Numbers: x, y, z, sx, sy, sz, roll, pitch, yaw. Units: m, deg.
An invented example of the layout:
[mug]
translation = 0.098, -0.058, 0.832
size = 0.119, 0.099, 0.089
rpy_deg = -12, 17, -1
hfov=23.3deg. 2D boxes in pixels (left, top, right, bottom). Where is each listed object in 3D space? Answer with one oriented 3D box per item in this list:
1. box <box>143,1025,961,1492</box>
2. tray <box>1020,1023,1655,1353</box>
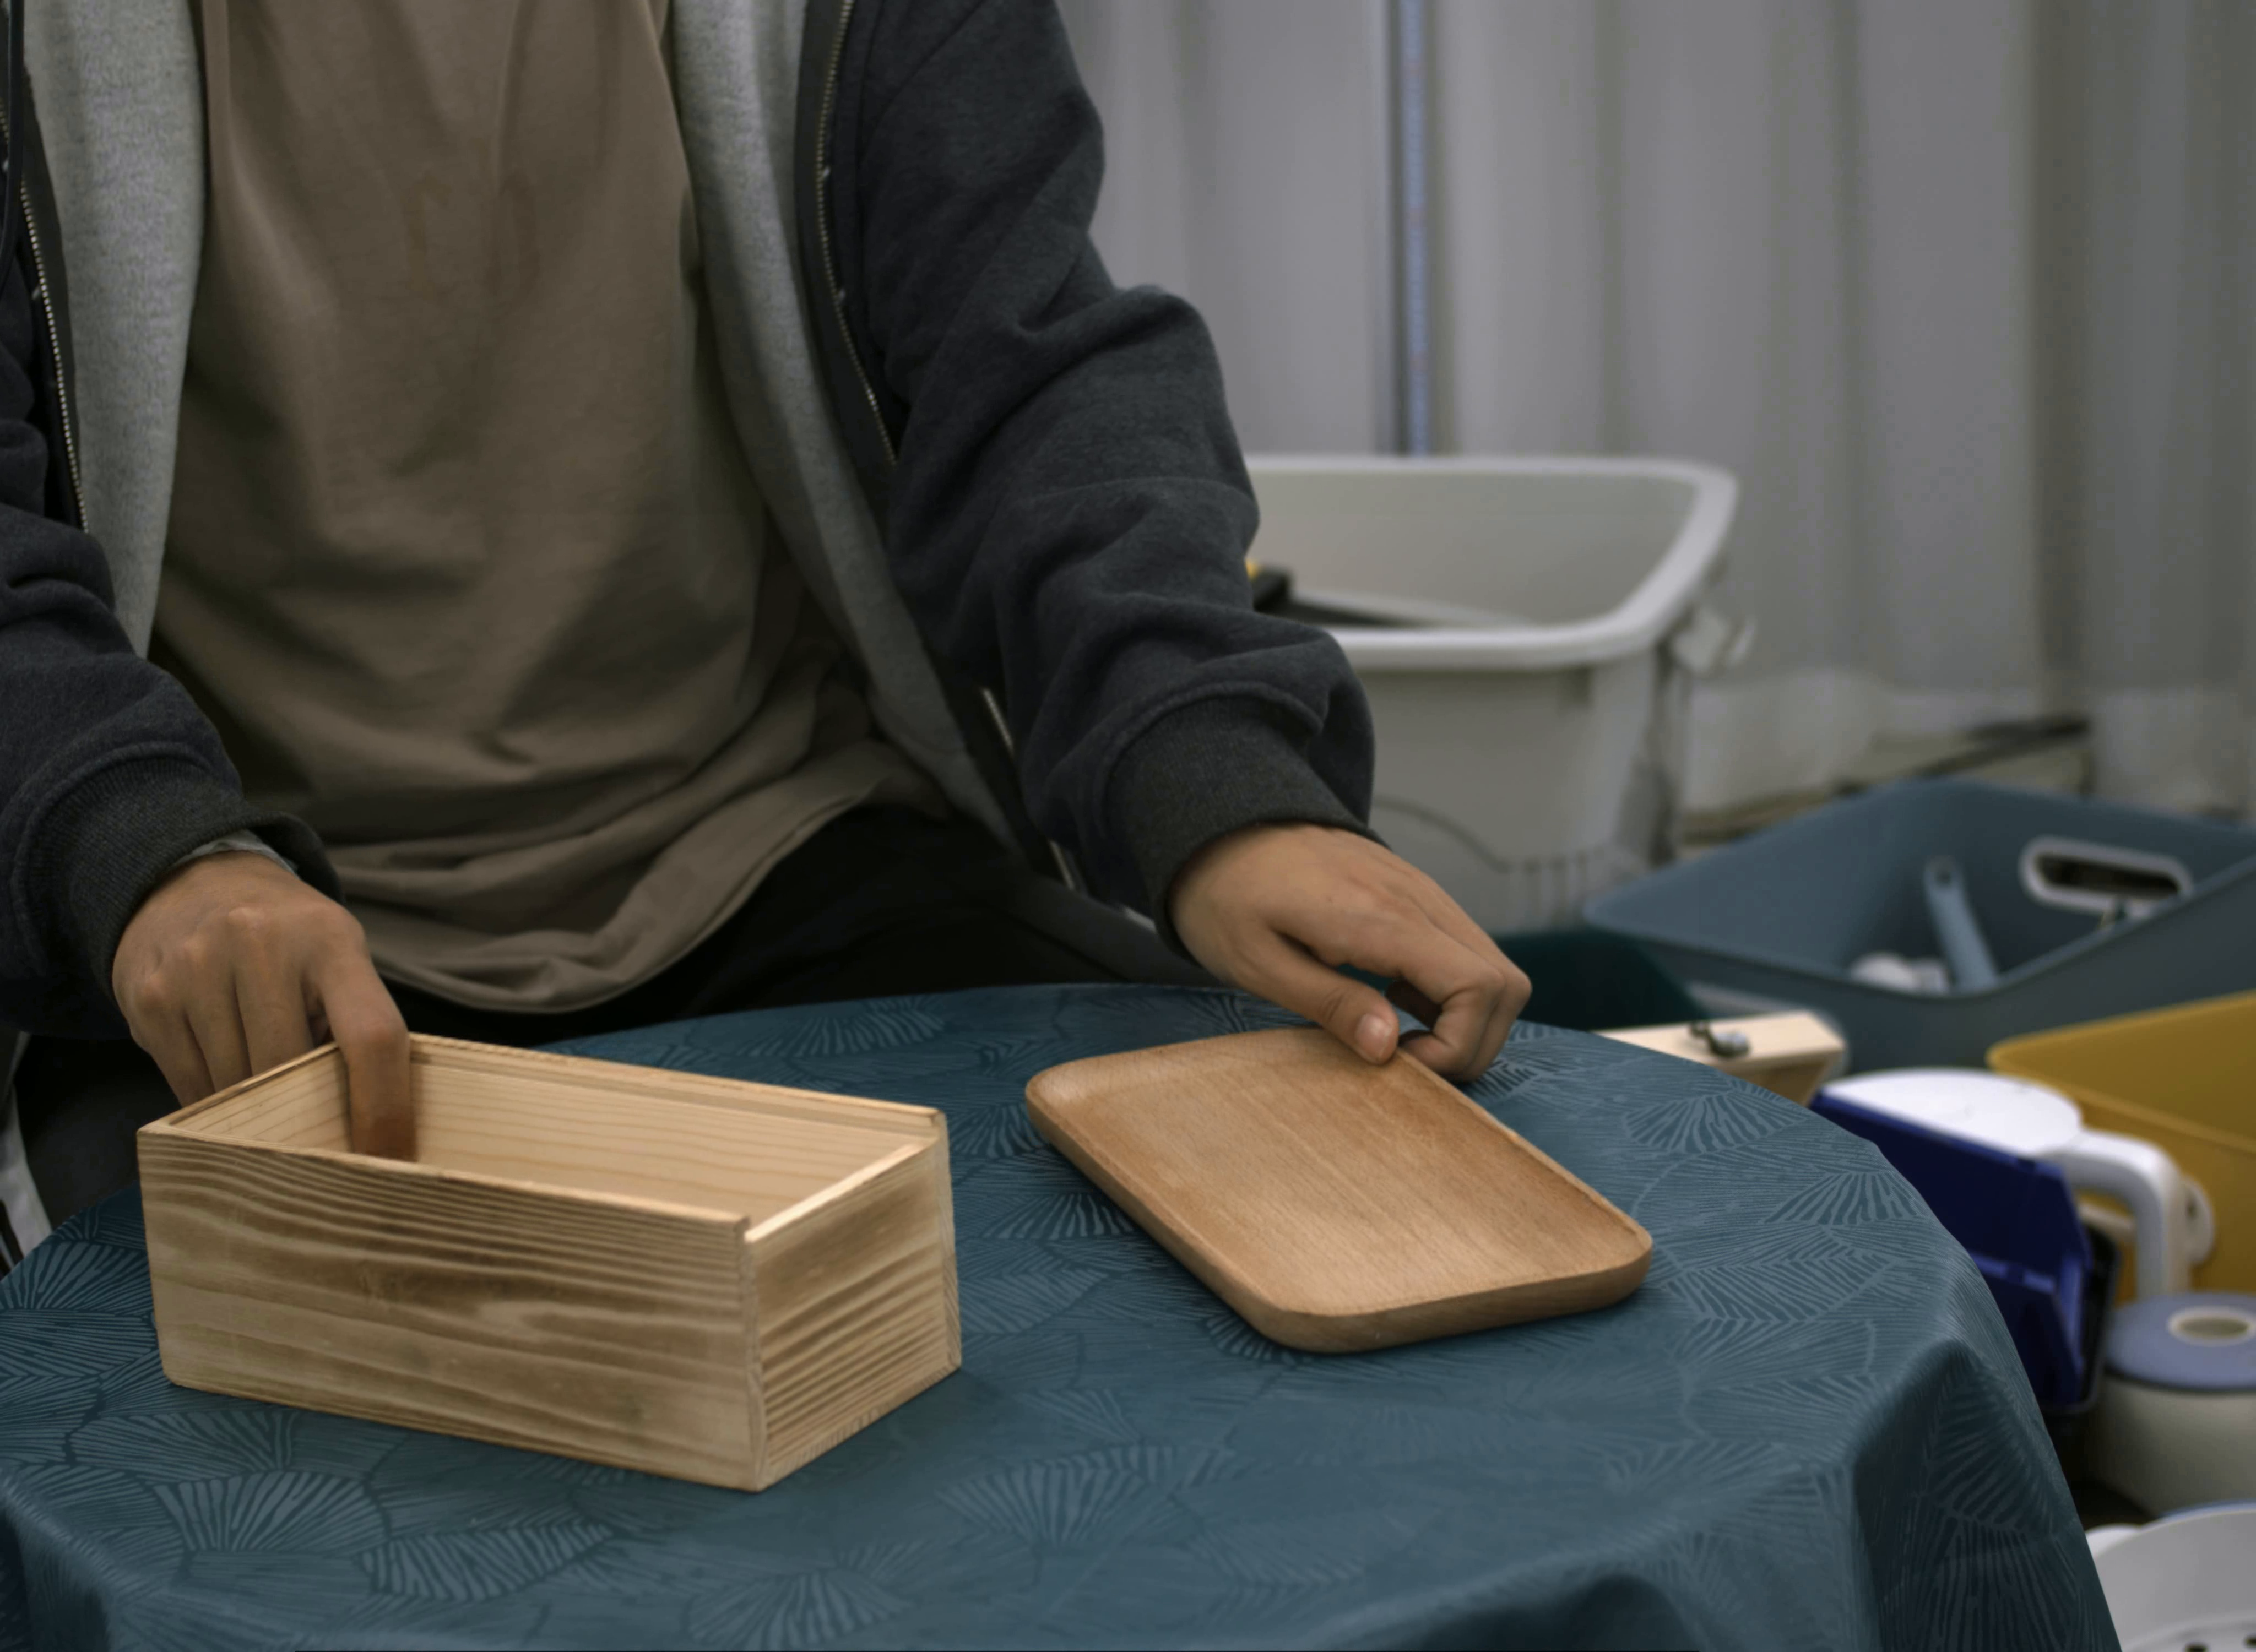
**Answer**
[box]
translation = -0.166, 0.121, 1.571
size = 0.212, 0.080, 0.107
rpy_deg = 6, 17, 31
[tray]
translation = 0.060, 0.109, 1.684
size = 0.130, 0.023, 0.253
rpy_deg = -5, 16, -19
